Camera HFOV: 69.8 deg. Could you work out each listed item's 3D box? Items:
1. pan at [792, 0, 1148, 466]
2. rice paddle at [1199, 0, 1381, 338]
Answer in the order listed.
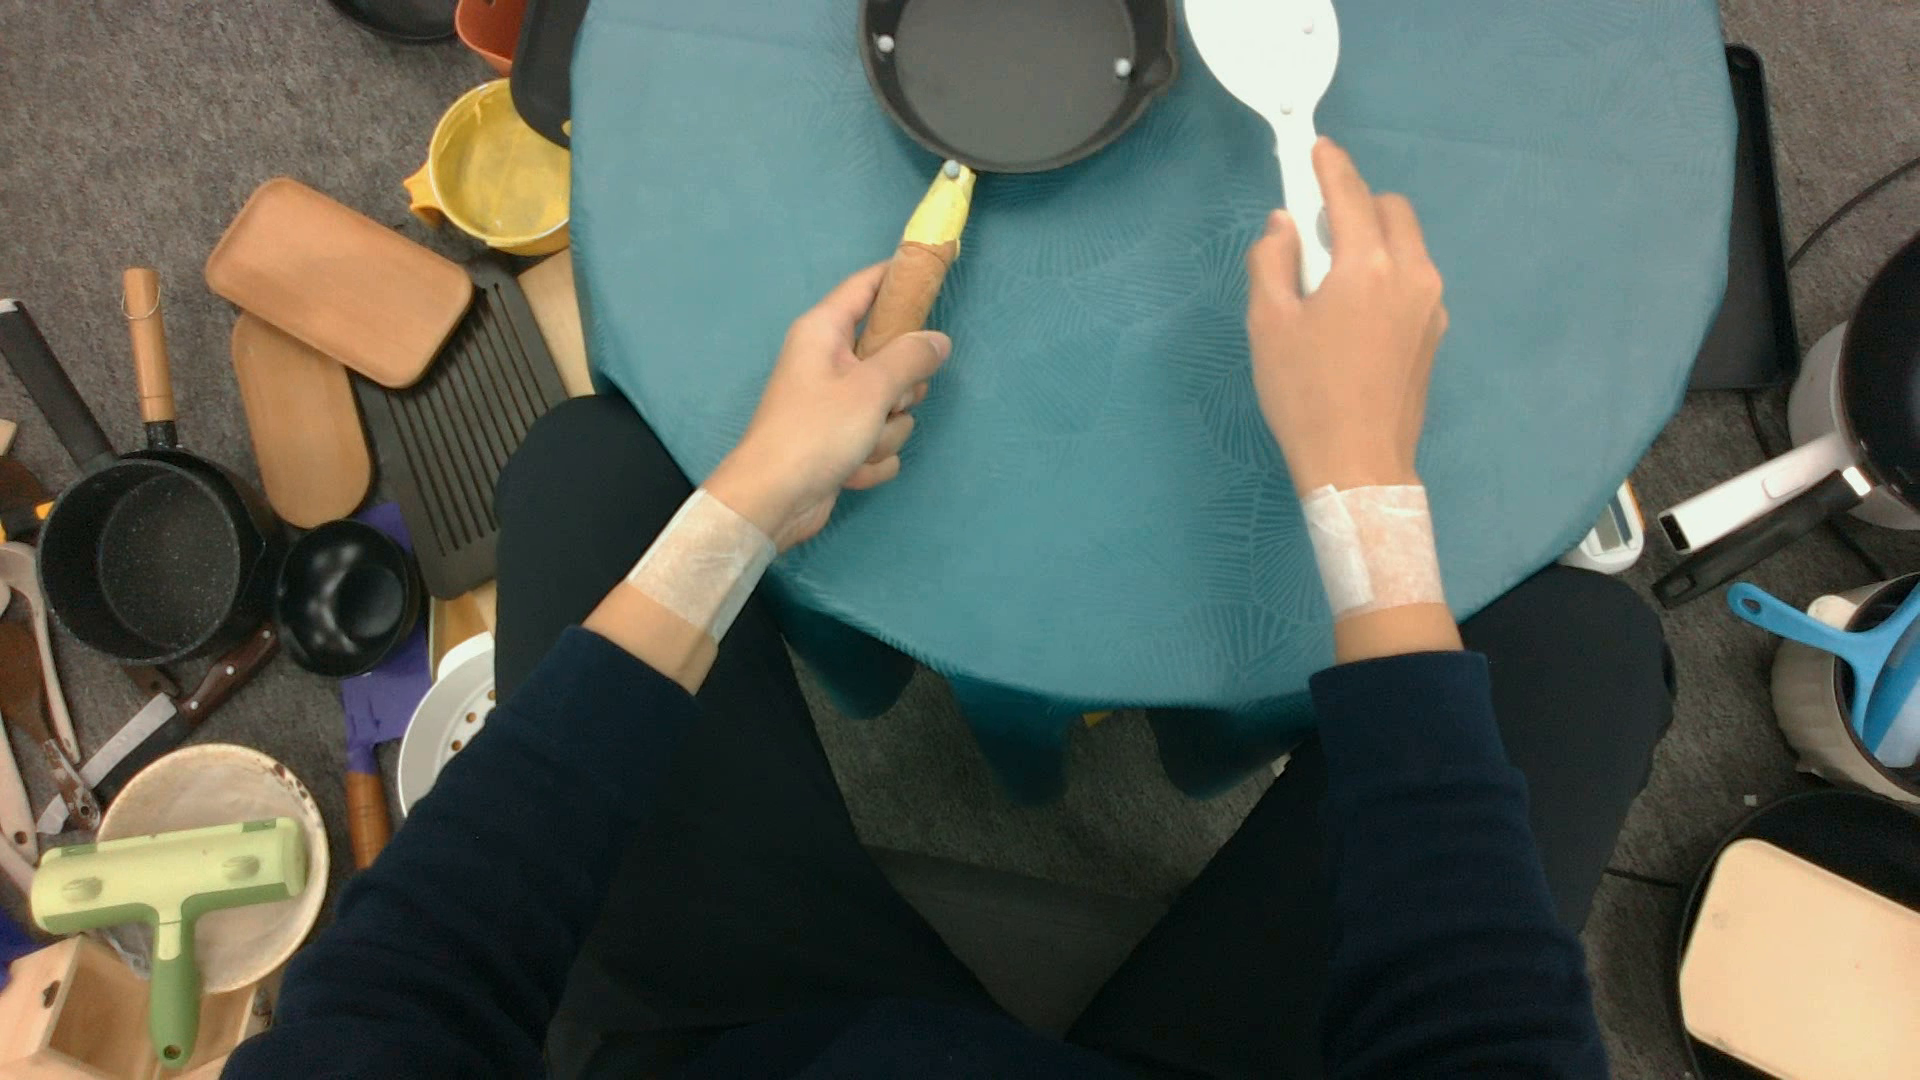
[{"bbox_3d":[-0.016,-0.185,0.683,0.169,0.049,0.324,21,80,2],"label":"pan"},{"bbox_3d":[0.159,-0.193,0.652,0.069,0.029,0.206,-6,71,-6],"label":"rice paddle"}]
